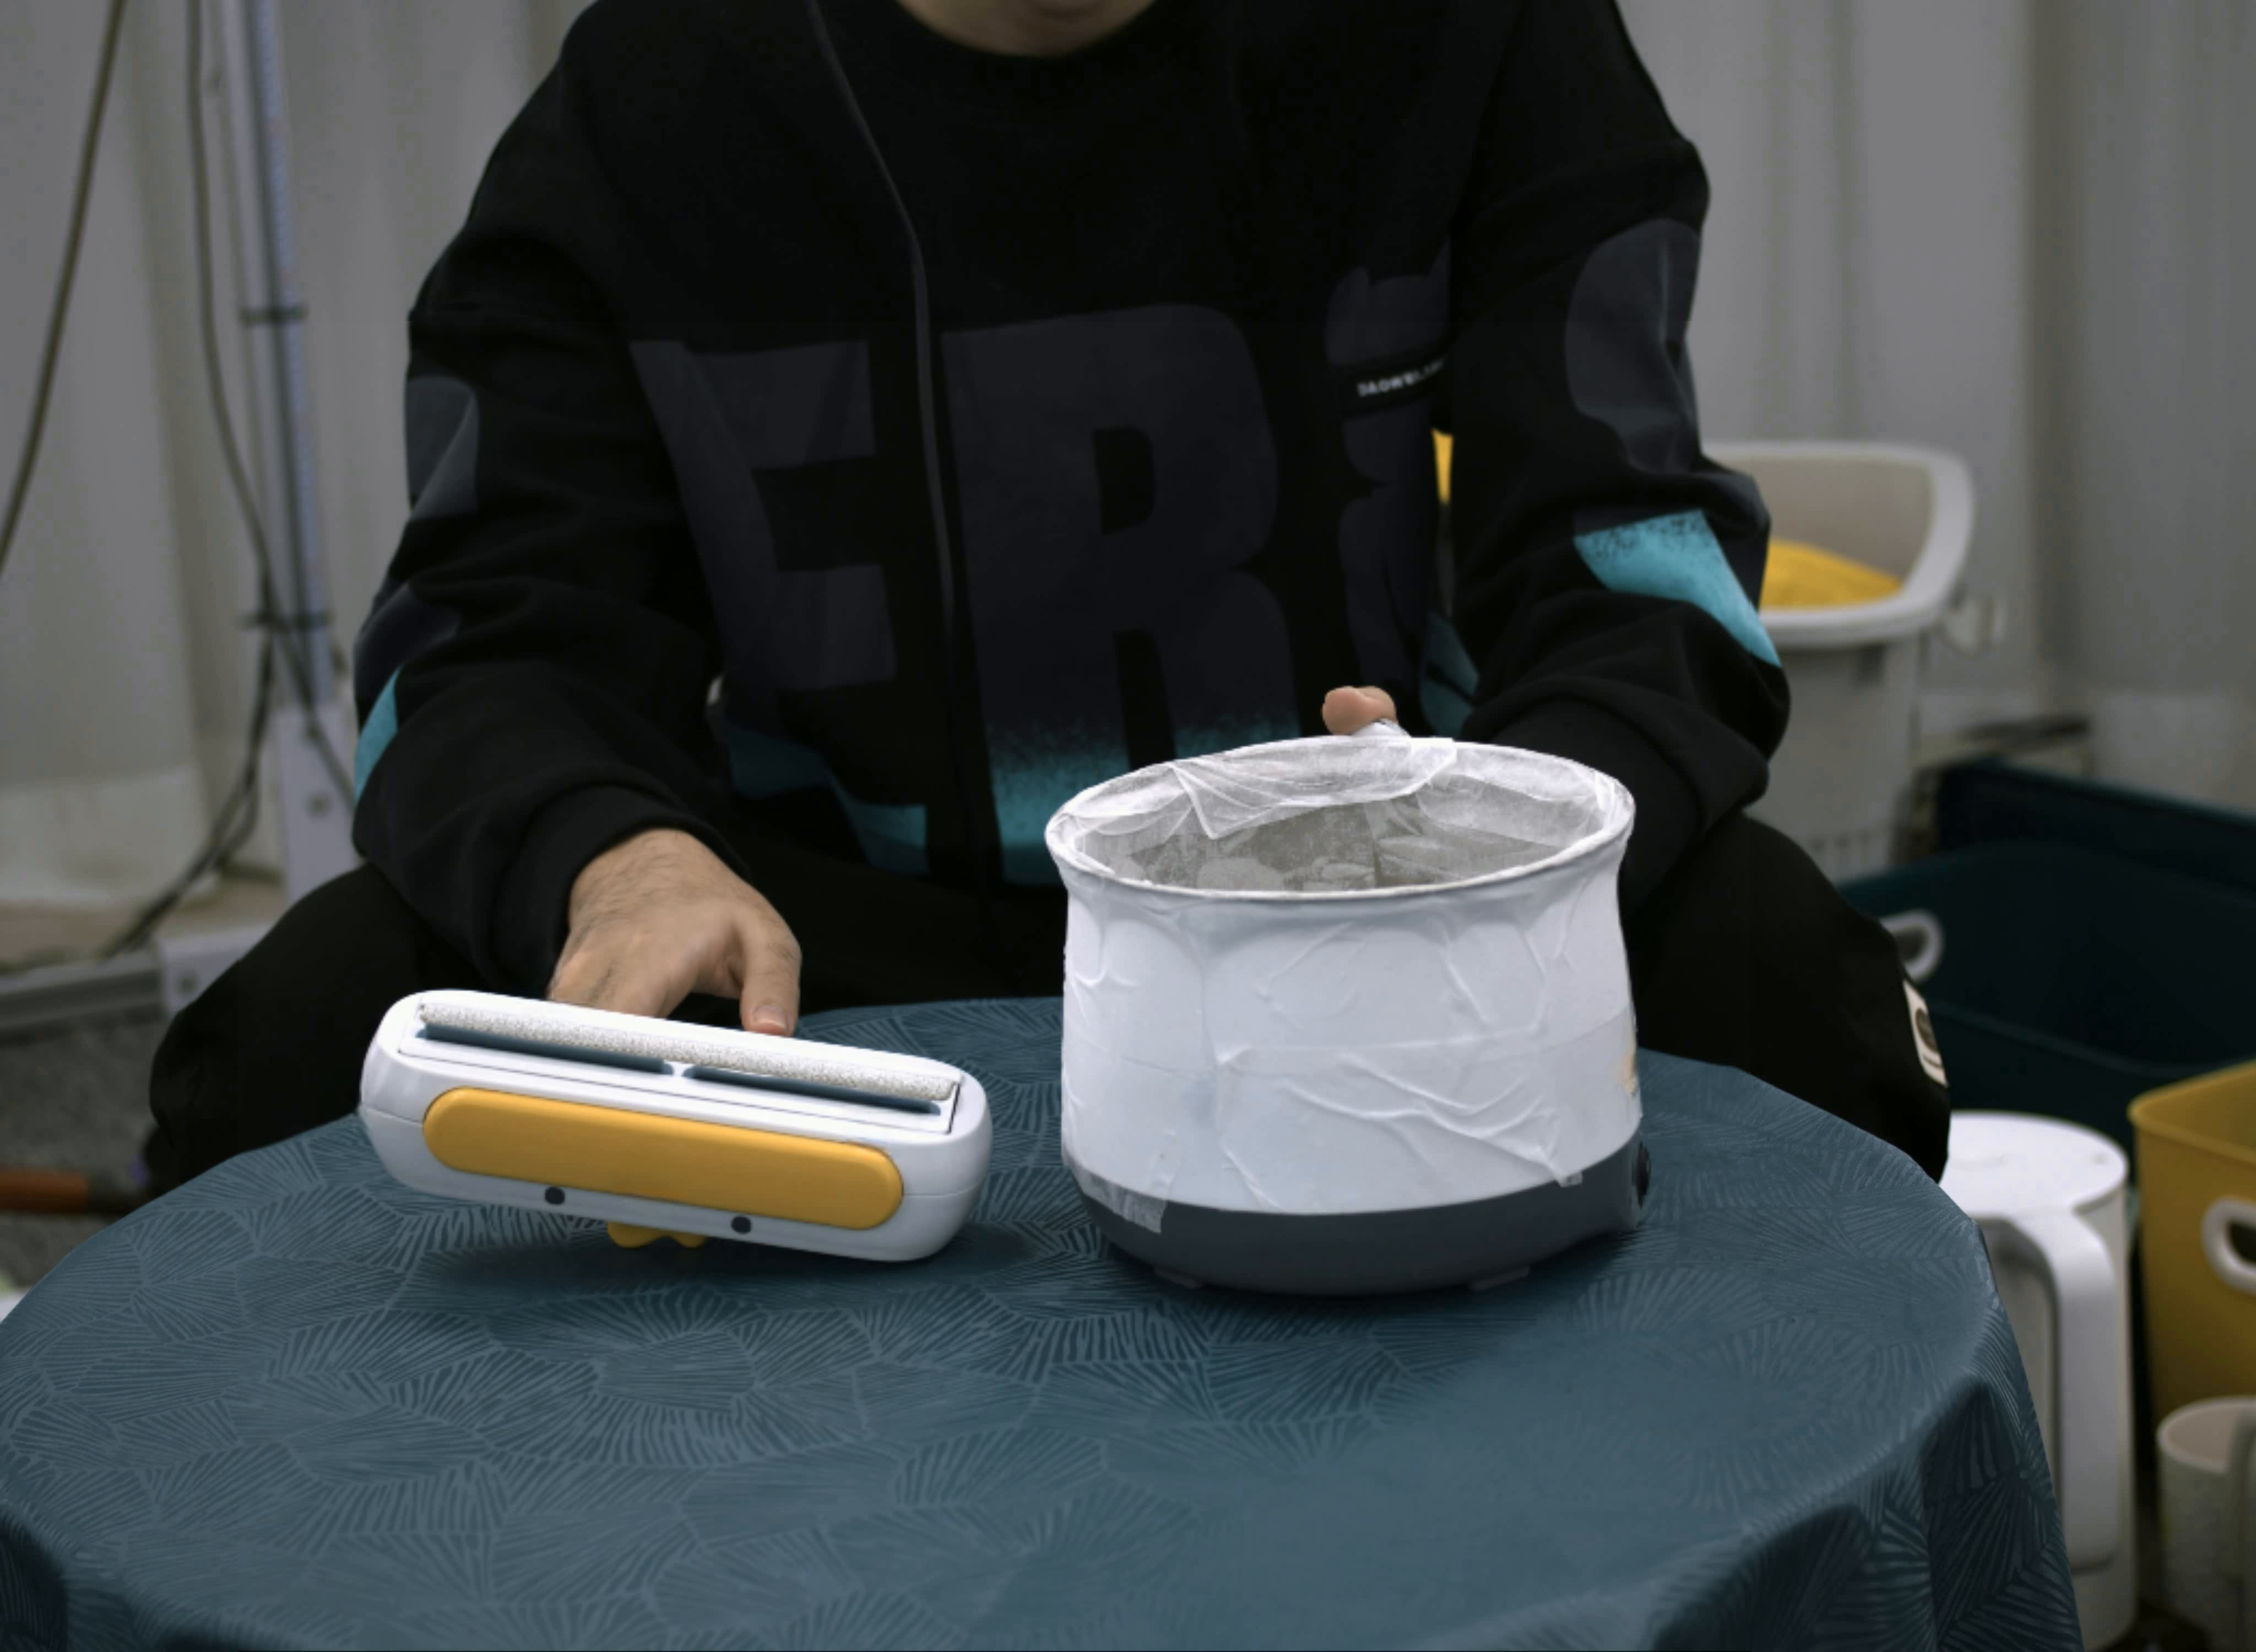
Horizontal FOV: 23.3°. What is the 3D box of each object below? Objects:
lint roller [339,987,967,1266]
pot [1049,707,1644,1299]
[{"bbox_3d":[-0.139,0.084,1.728,0.192,0.074,0.193,5,14,6],"label":"lint roller"},{"bbox_3d":[0.070,0.049,1.676,0.178,0.136,0.235,1,16,8],"label":"pot"}]
